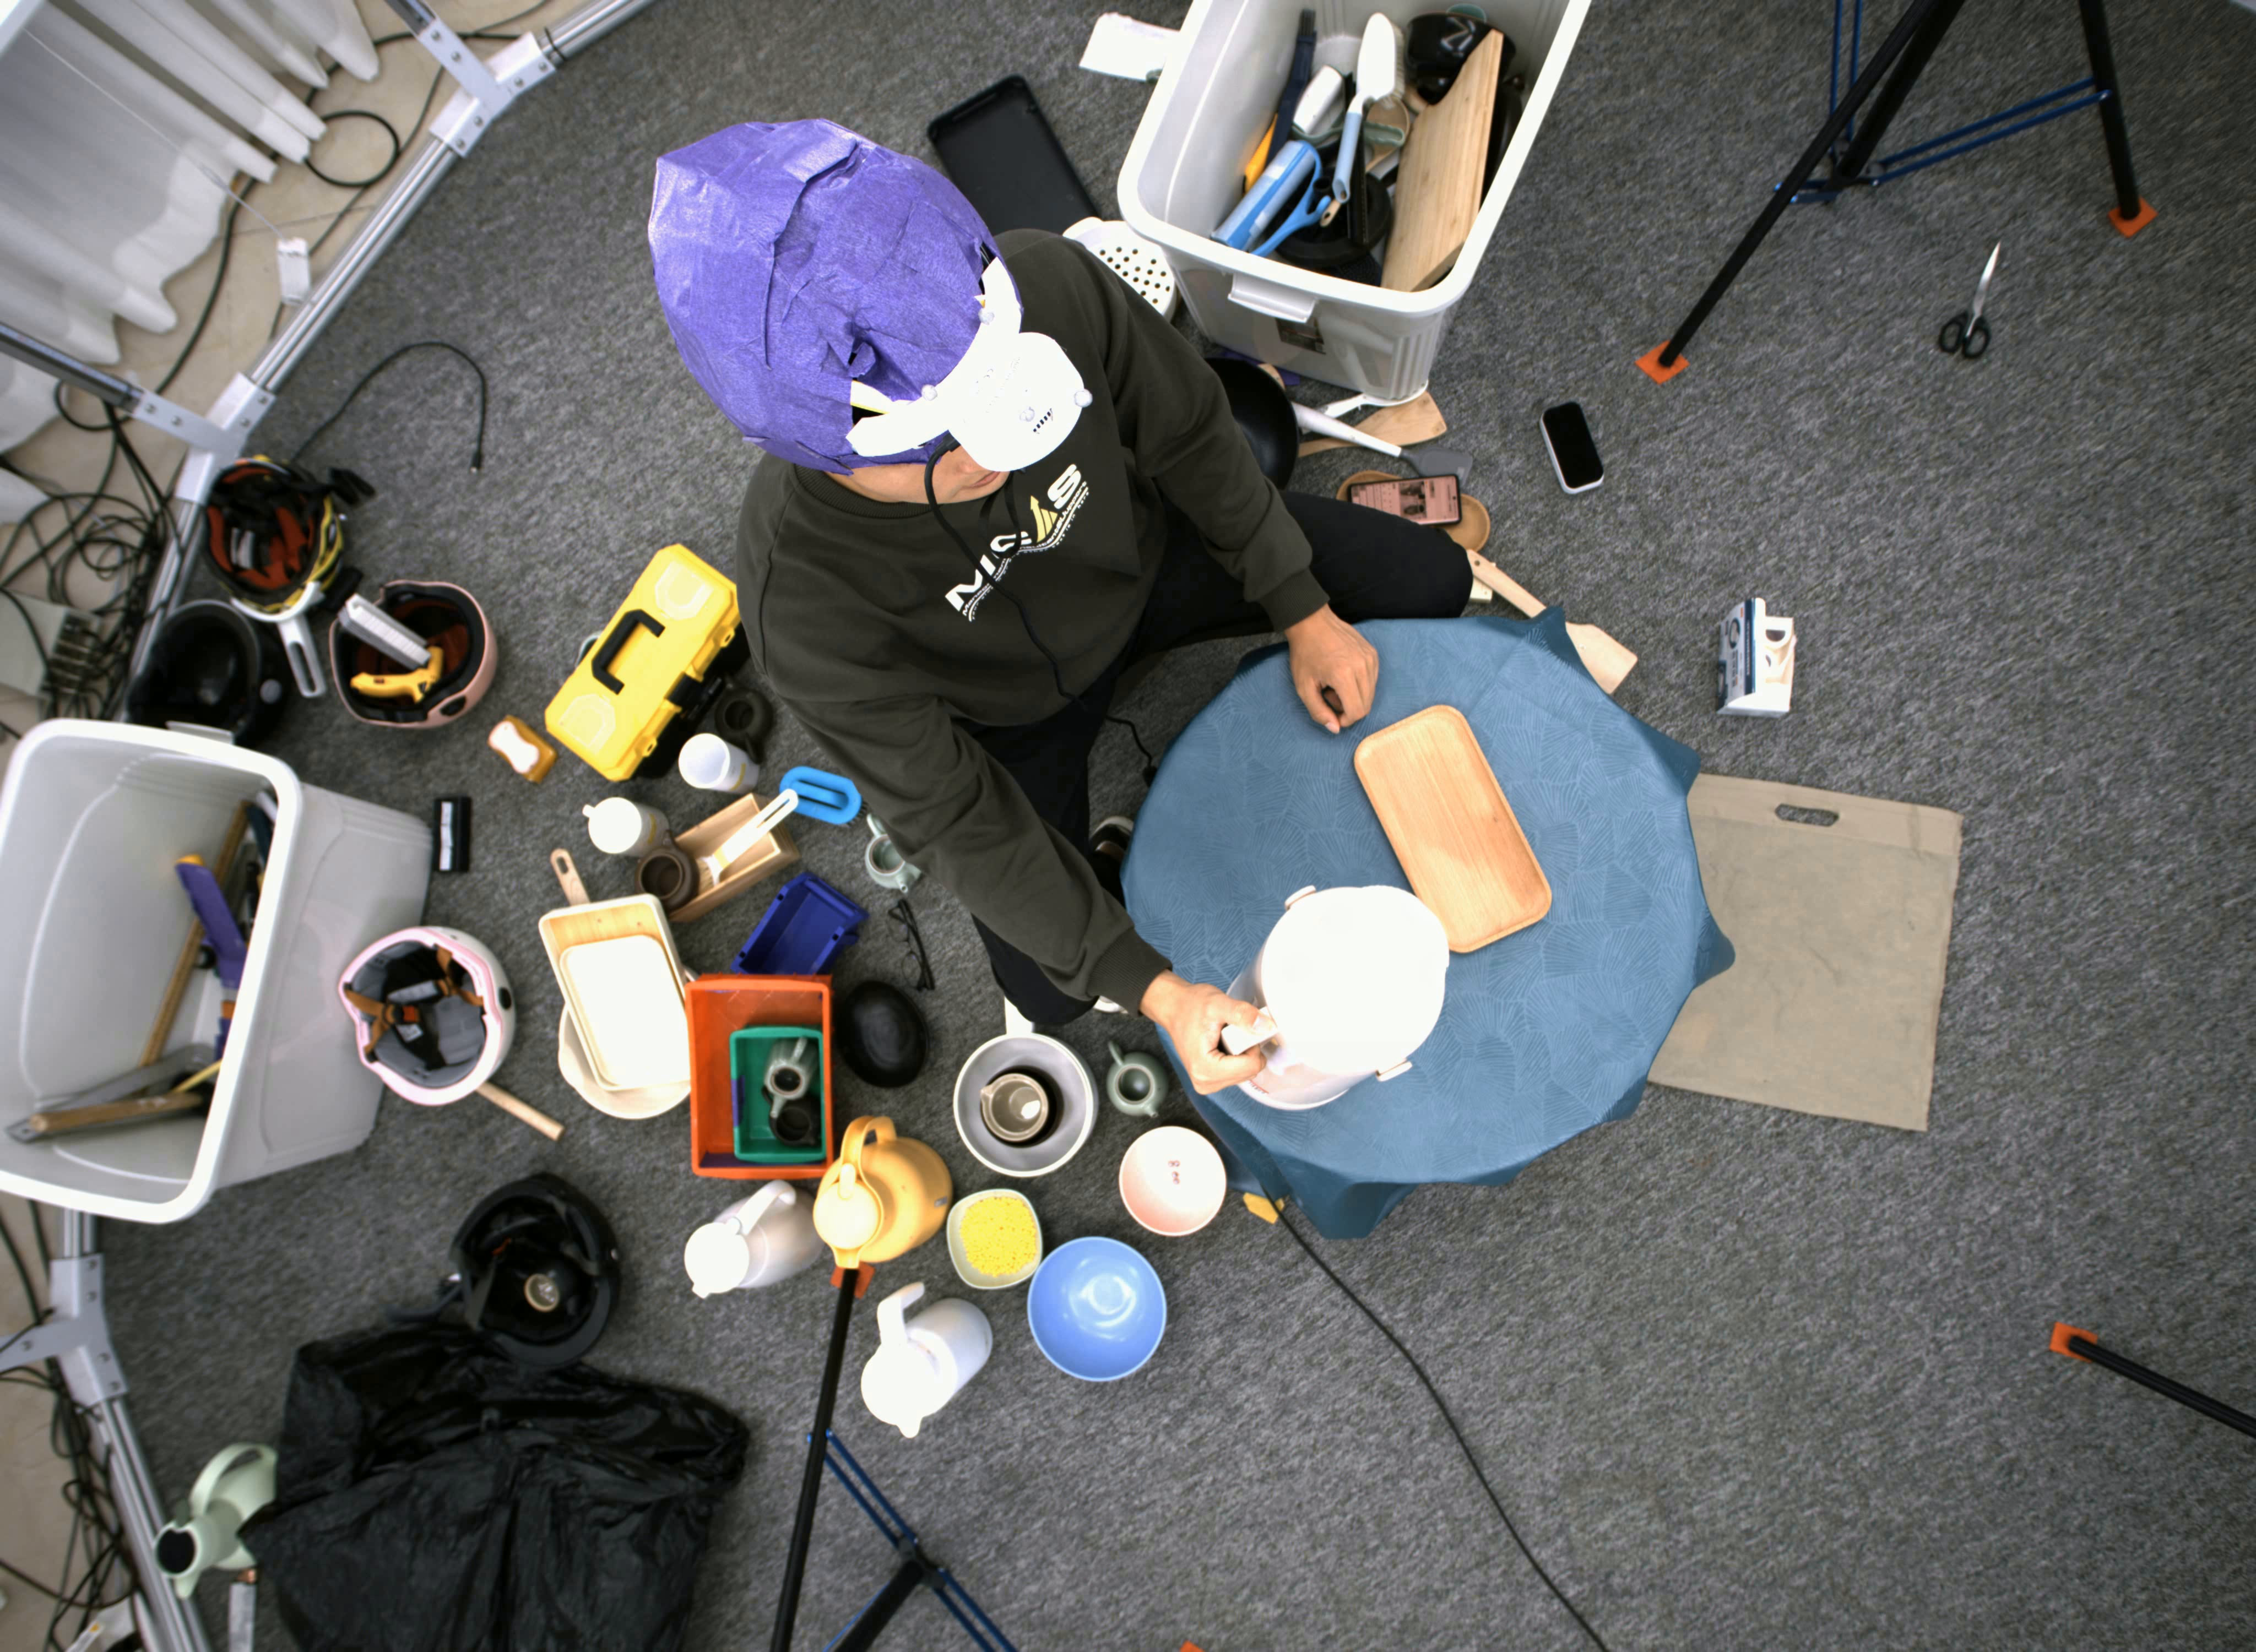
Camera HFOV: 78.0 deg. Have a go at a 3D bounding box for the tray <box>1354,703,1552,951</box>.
[{"bbox_3d":[0.339,-0.002,1.443,0.131,0.023,0.249,-24,82,6],"label":"tray"}]

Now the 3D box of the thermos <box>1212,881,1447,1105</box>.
[{"bbox_3d":[0.167,0.156,1.251,0.206,0.412,0.174,-26,78,-11],"label":"thermos"}]
